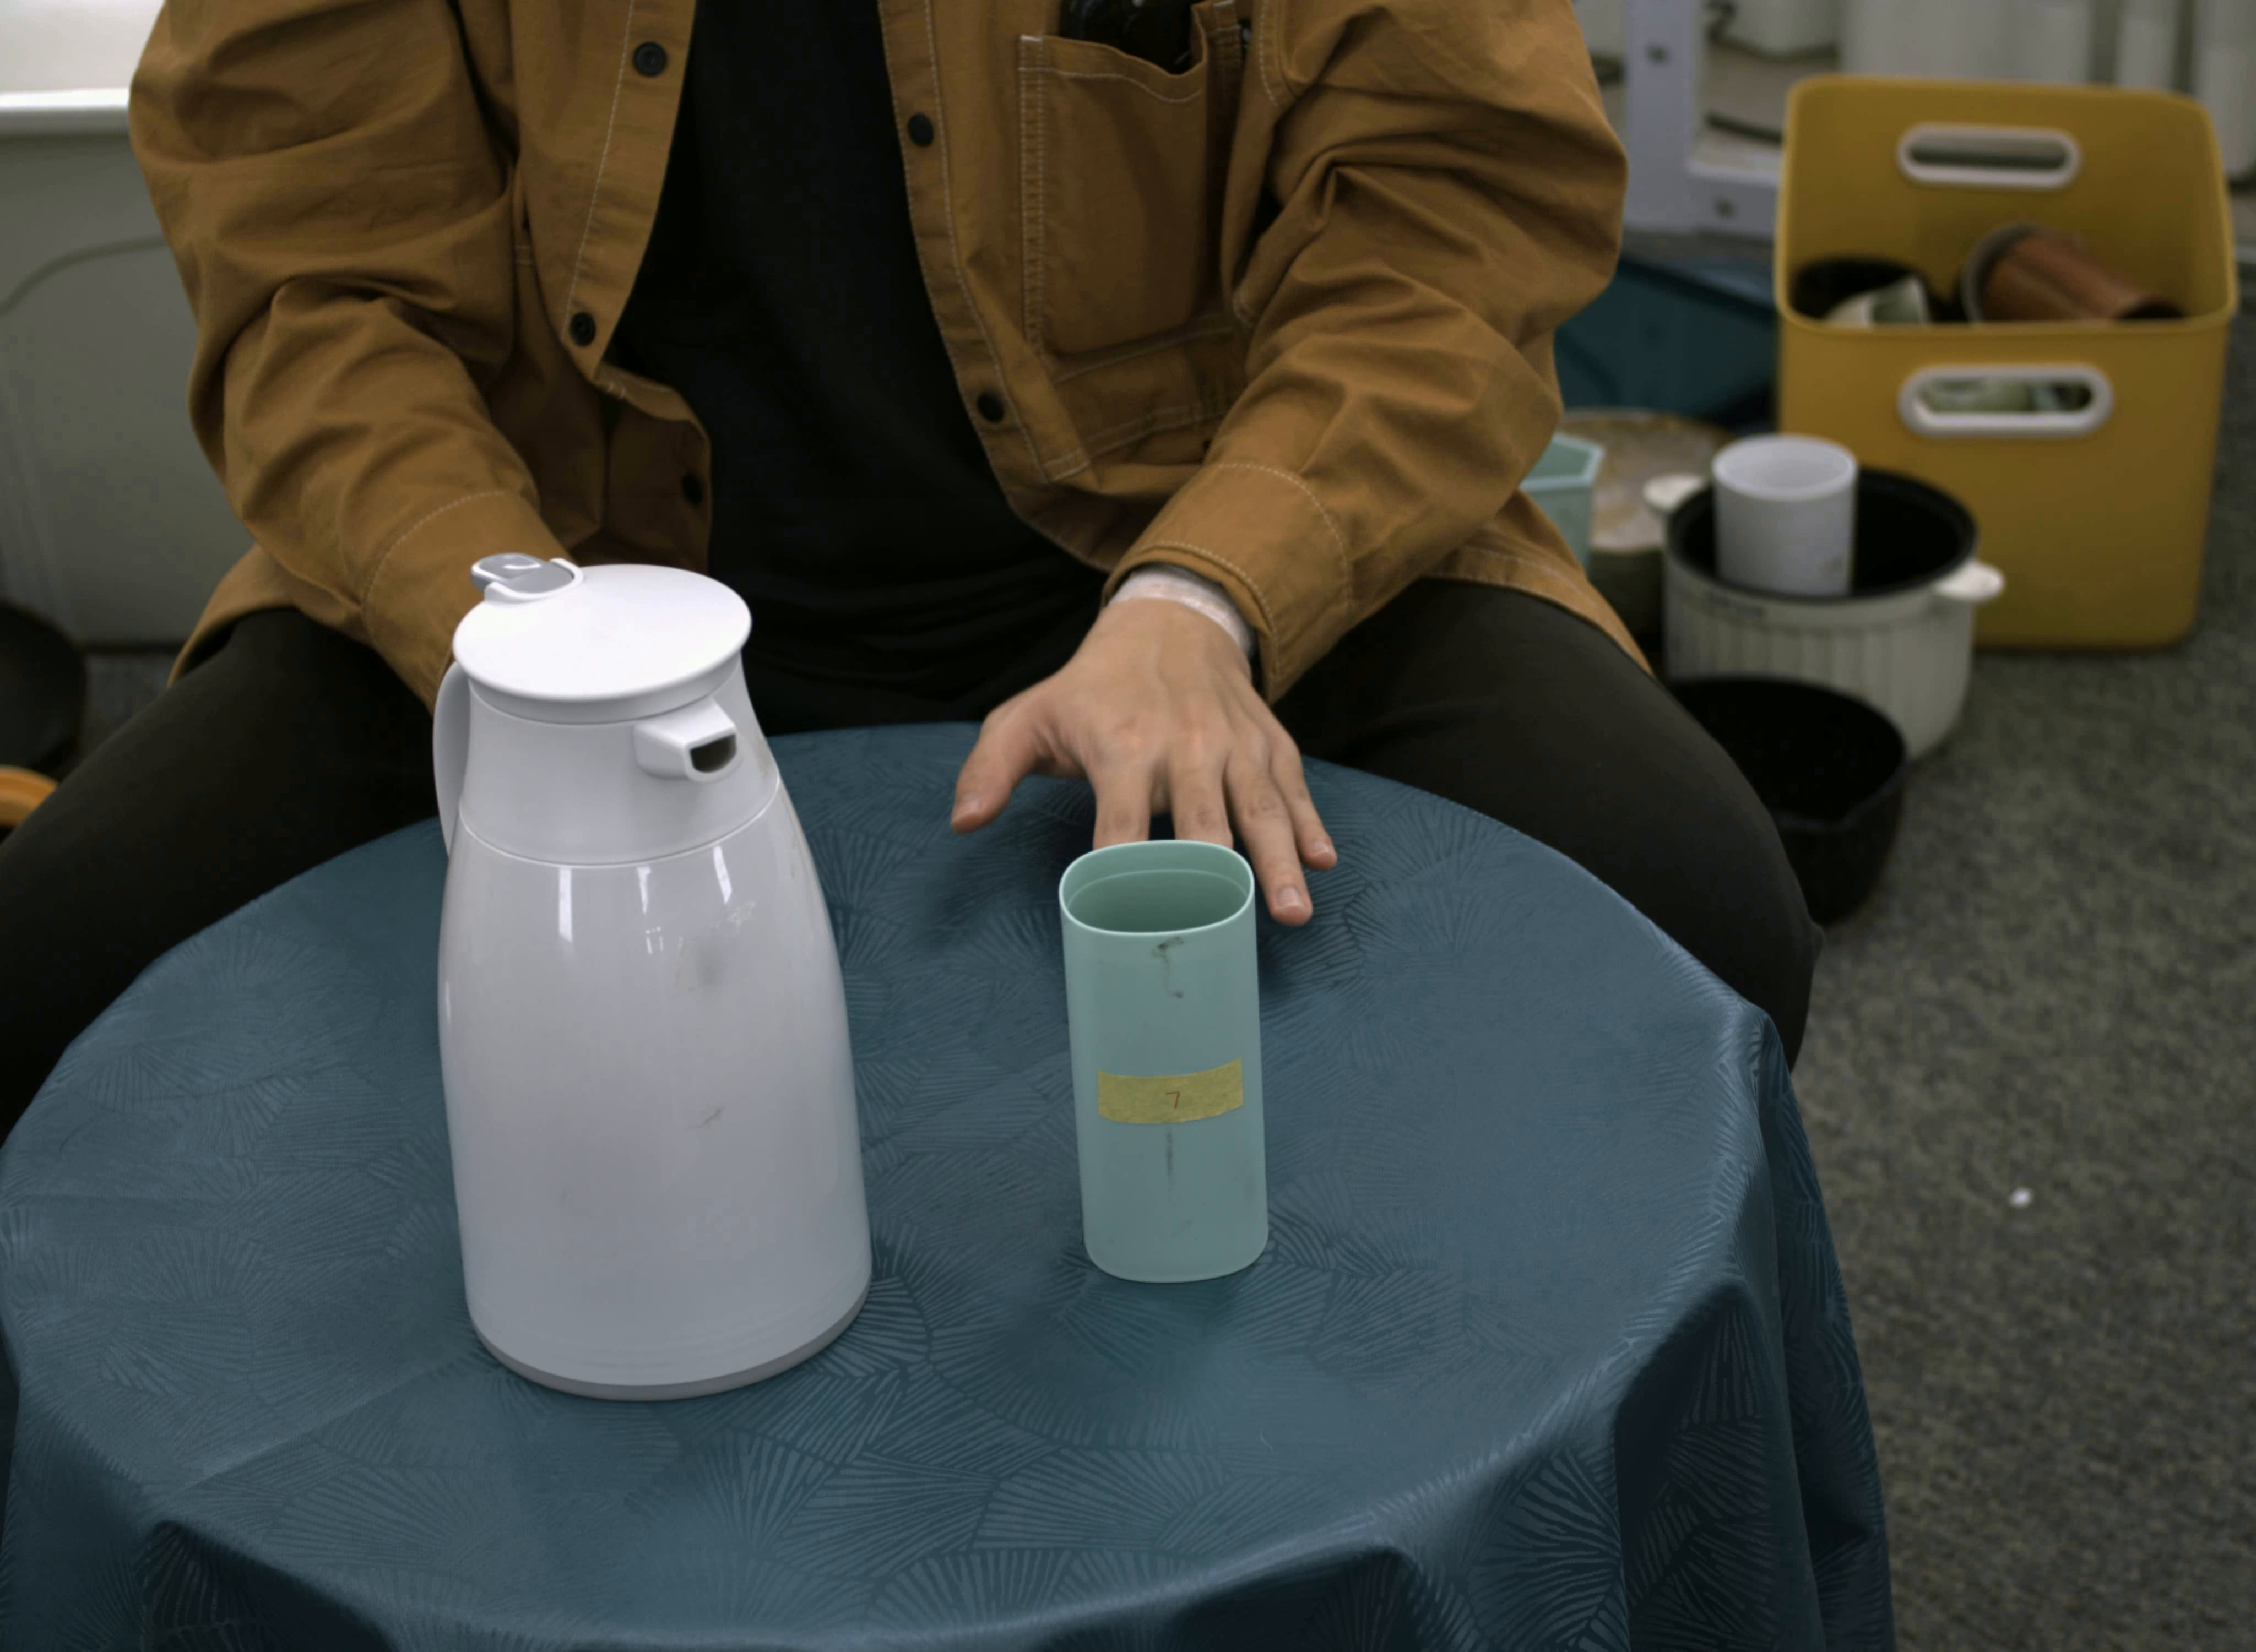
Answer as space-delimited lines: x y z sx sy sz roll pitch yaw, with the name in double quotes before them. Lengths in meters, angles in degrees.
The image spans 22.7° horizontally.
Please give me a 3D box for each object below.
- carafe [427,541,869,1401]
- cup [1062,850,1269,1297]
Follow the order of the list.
"carafe" -0.167 0.035 1.776 0.134 0.246 0.168 -21 31 -32
"cup" 0.013 0.079 1.807 0.066 0.131 0.068 -2 26 1
